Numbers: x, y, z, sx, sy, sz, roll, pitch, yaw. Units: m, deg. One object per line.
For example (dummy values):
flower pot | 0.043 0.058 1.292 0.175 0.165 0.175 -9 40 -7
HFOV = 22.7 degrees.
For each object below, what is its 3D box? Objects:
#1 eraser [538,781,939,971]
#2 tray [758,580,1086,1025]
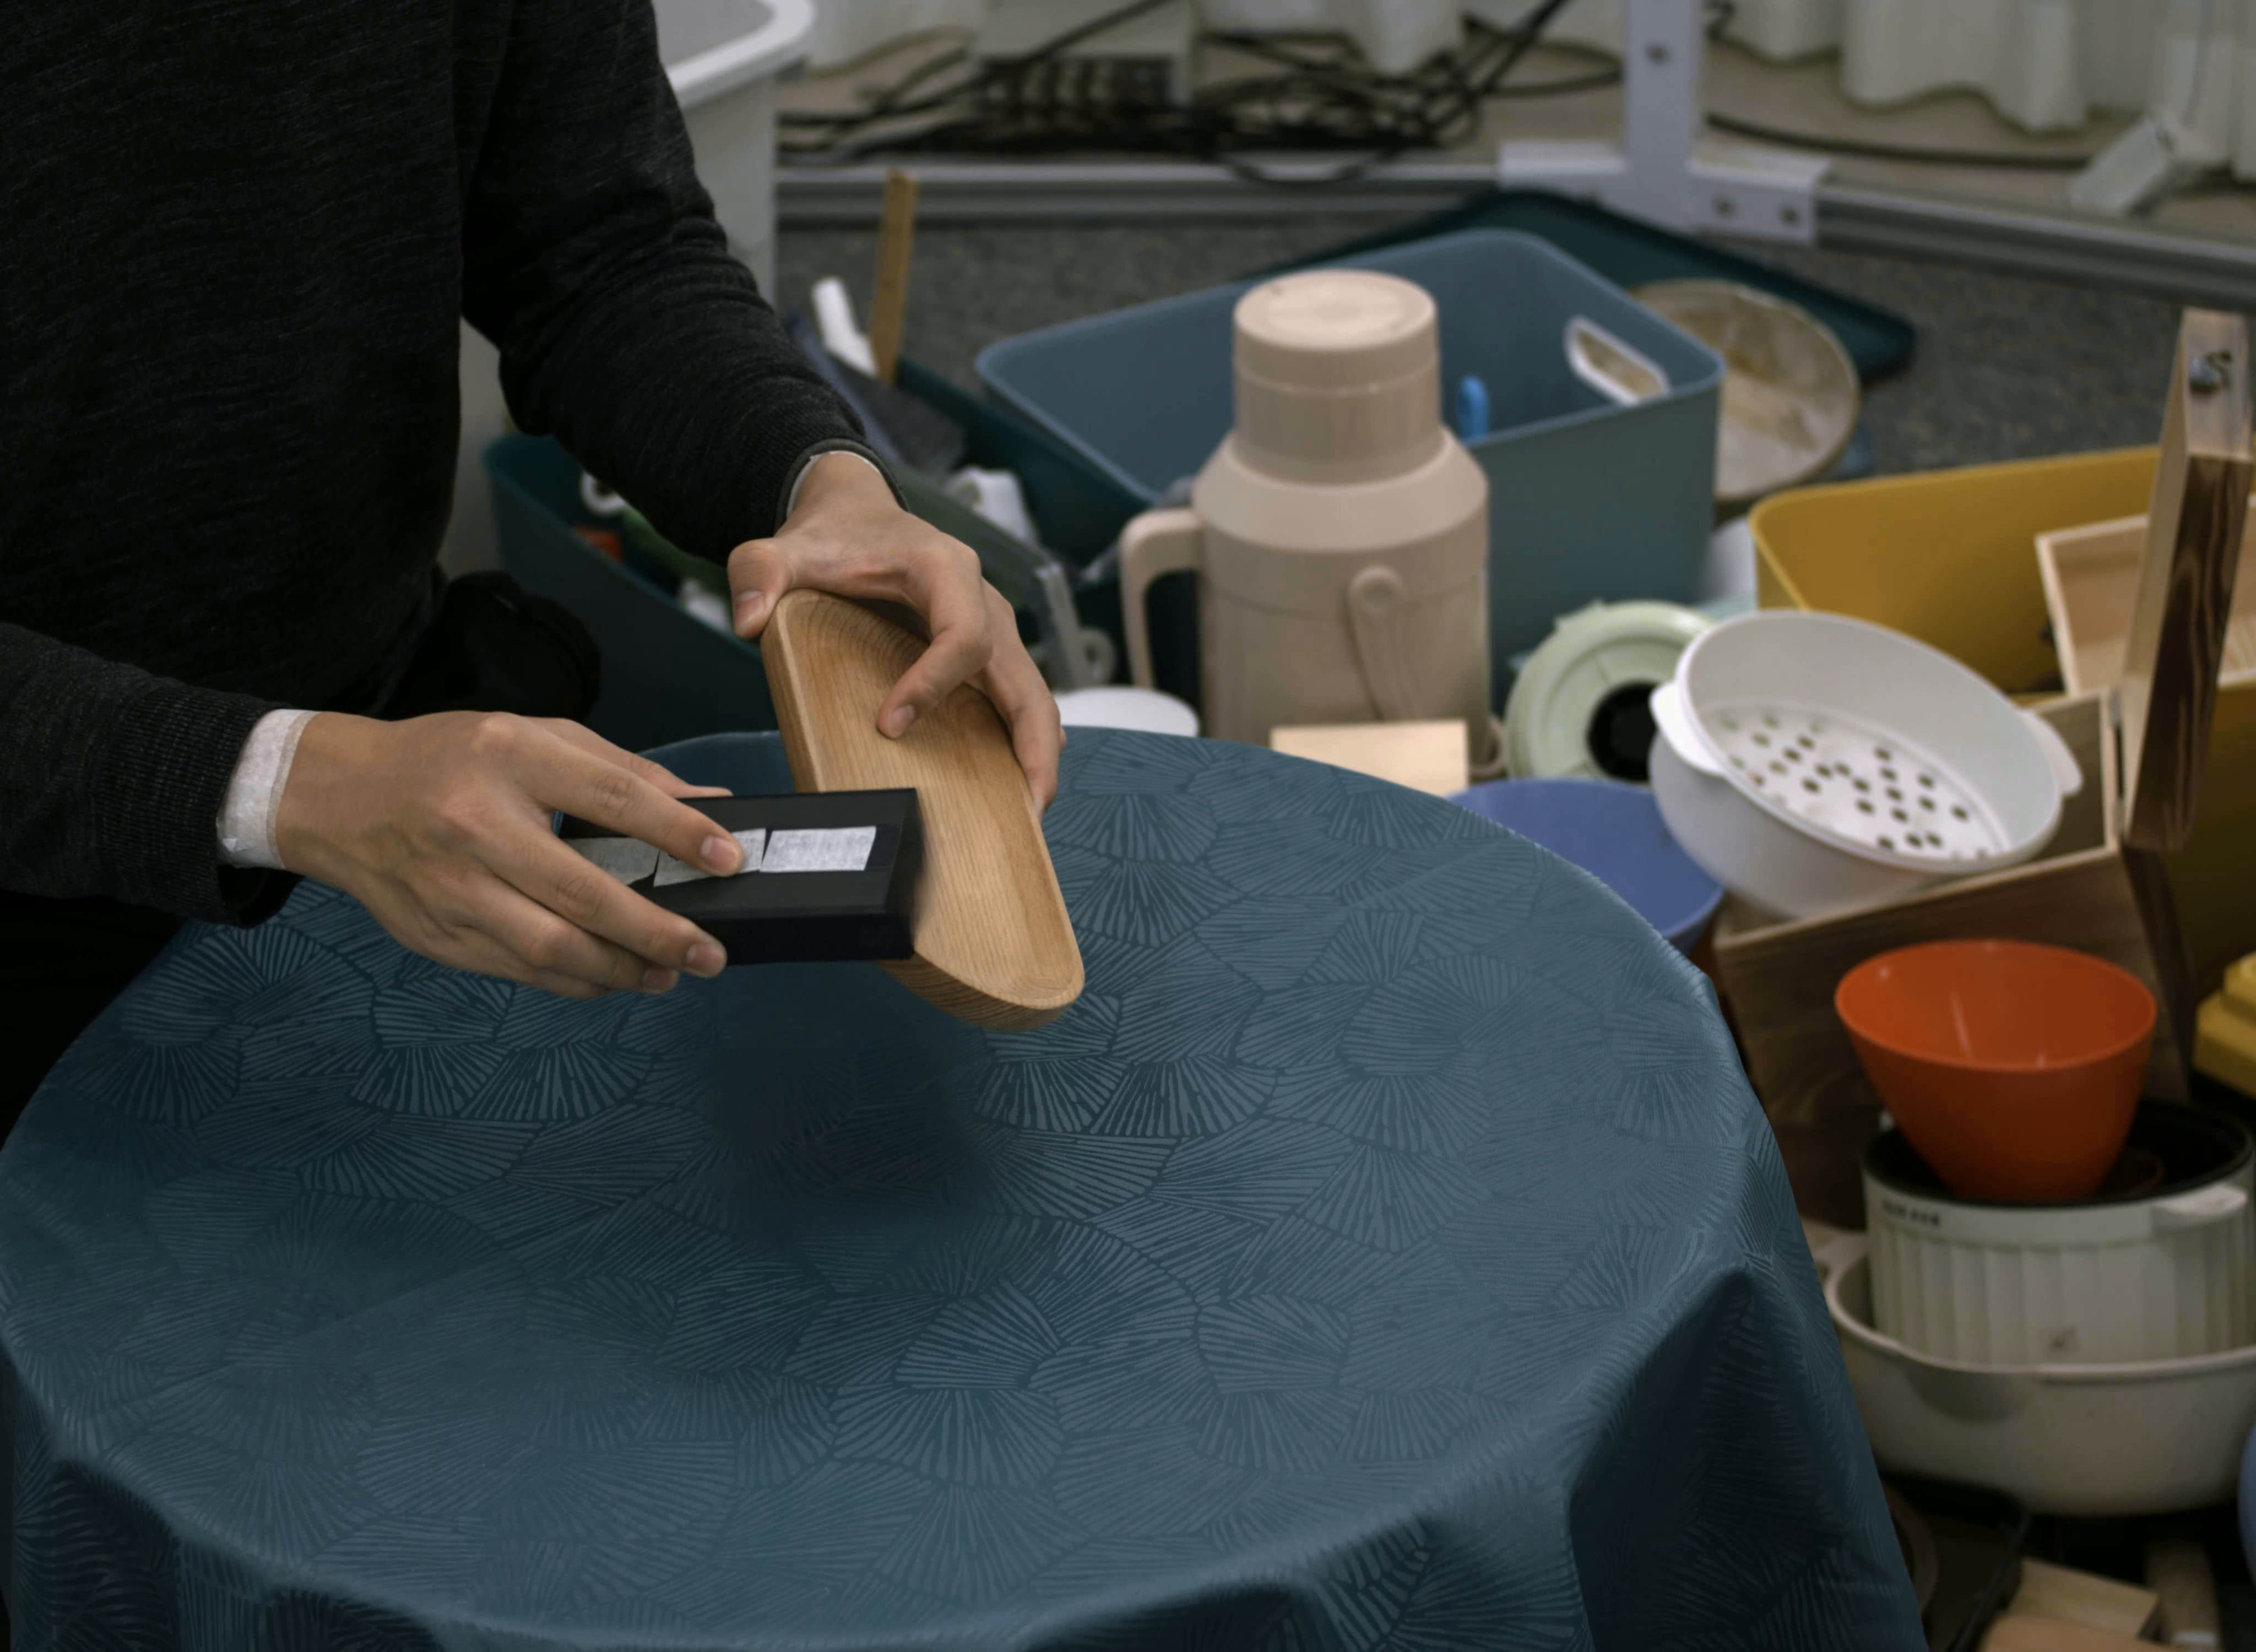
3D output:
eraser | -0.124 0.016 1.797 0.124 0.030 0.054 -4 50 19
tray | -0.072 -0.010 1.895 0.101 0.020 0.234 26 23 -27
